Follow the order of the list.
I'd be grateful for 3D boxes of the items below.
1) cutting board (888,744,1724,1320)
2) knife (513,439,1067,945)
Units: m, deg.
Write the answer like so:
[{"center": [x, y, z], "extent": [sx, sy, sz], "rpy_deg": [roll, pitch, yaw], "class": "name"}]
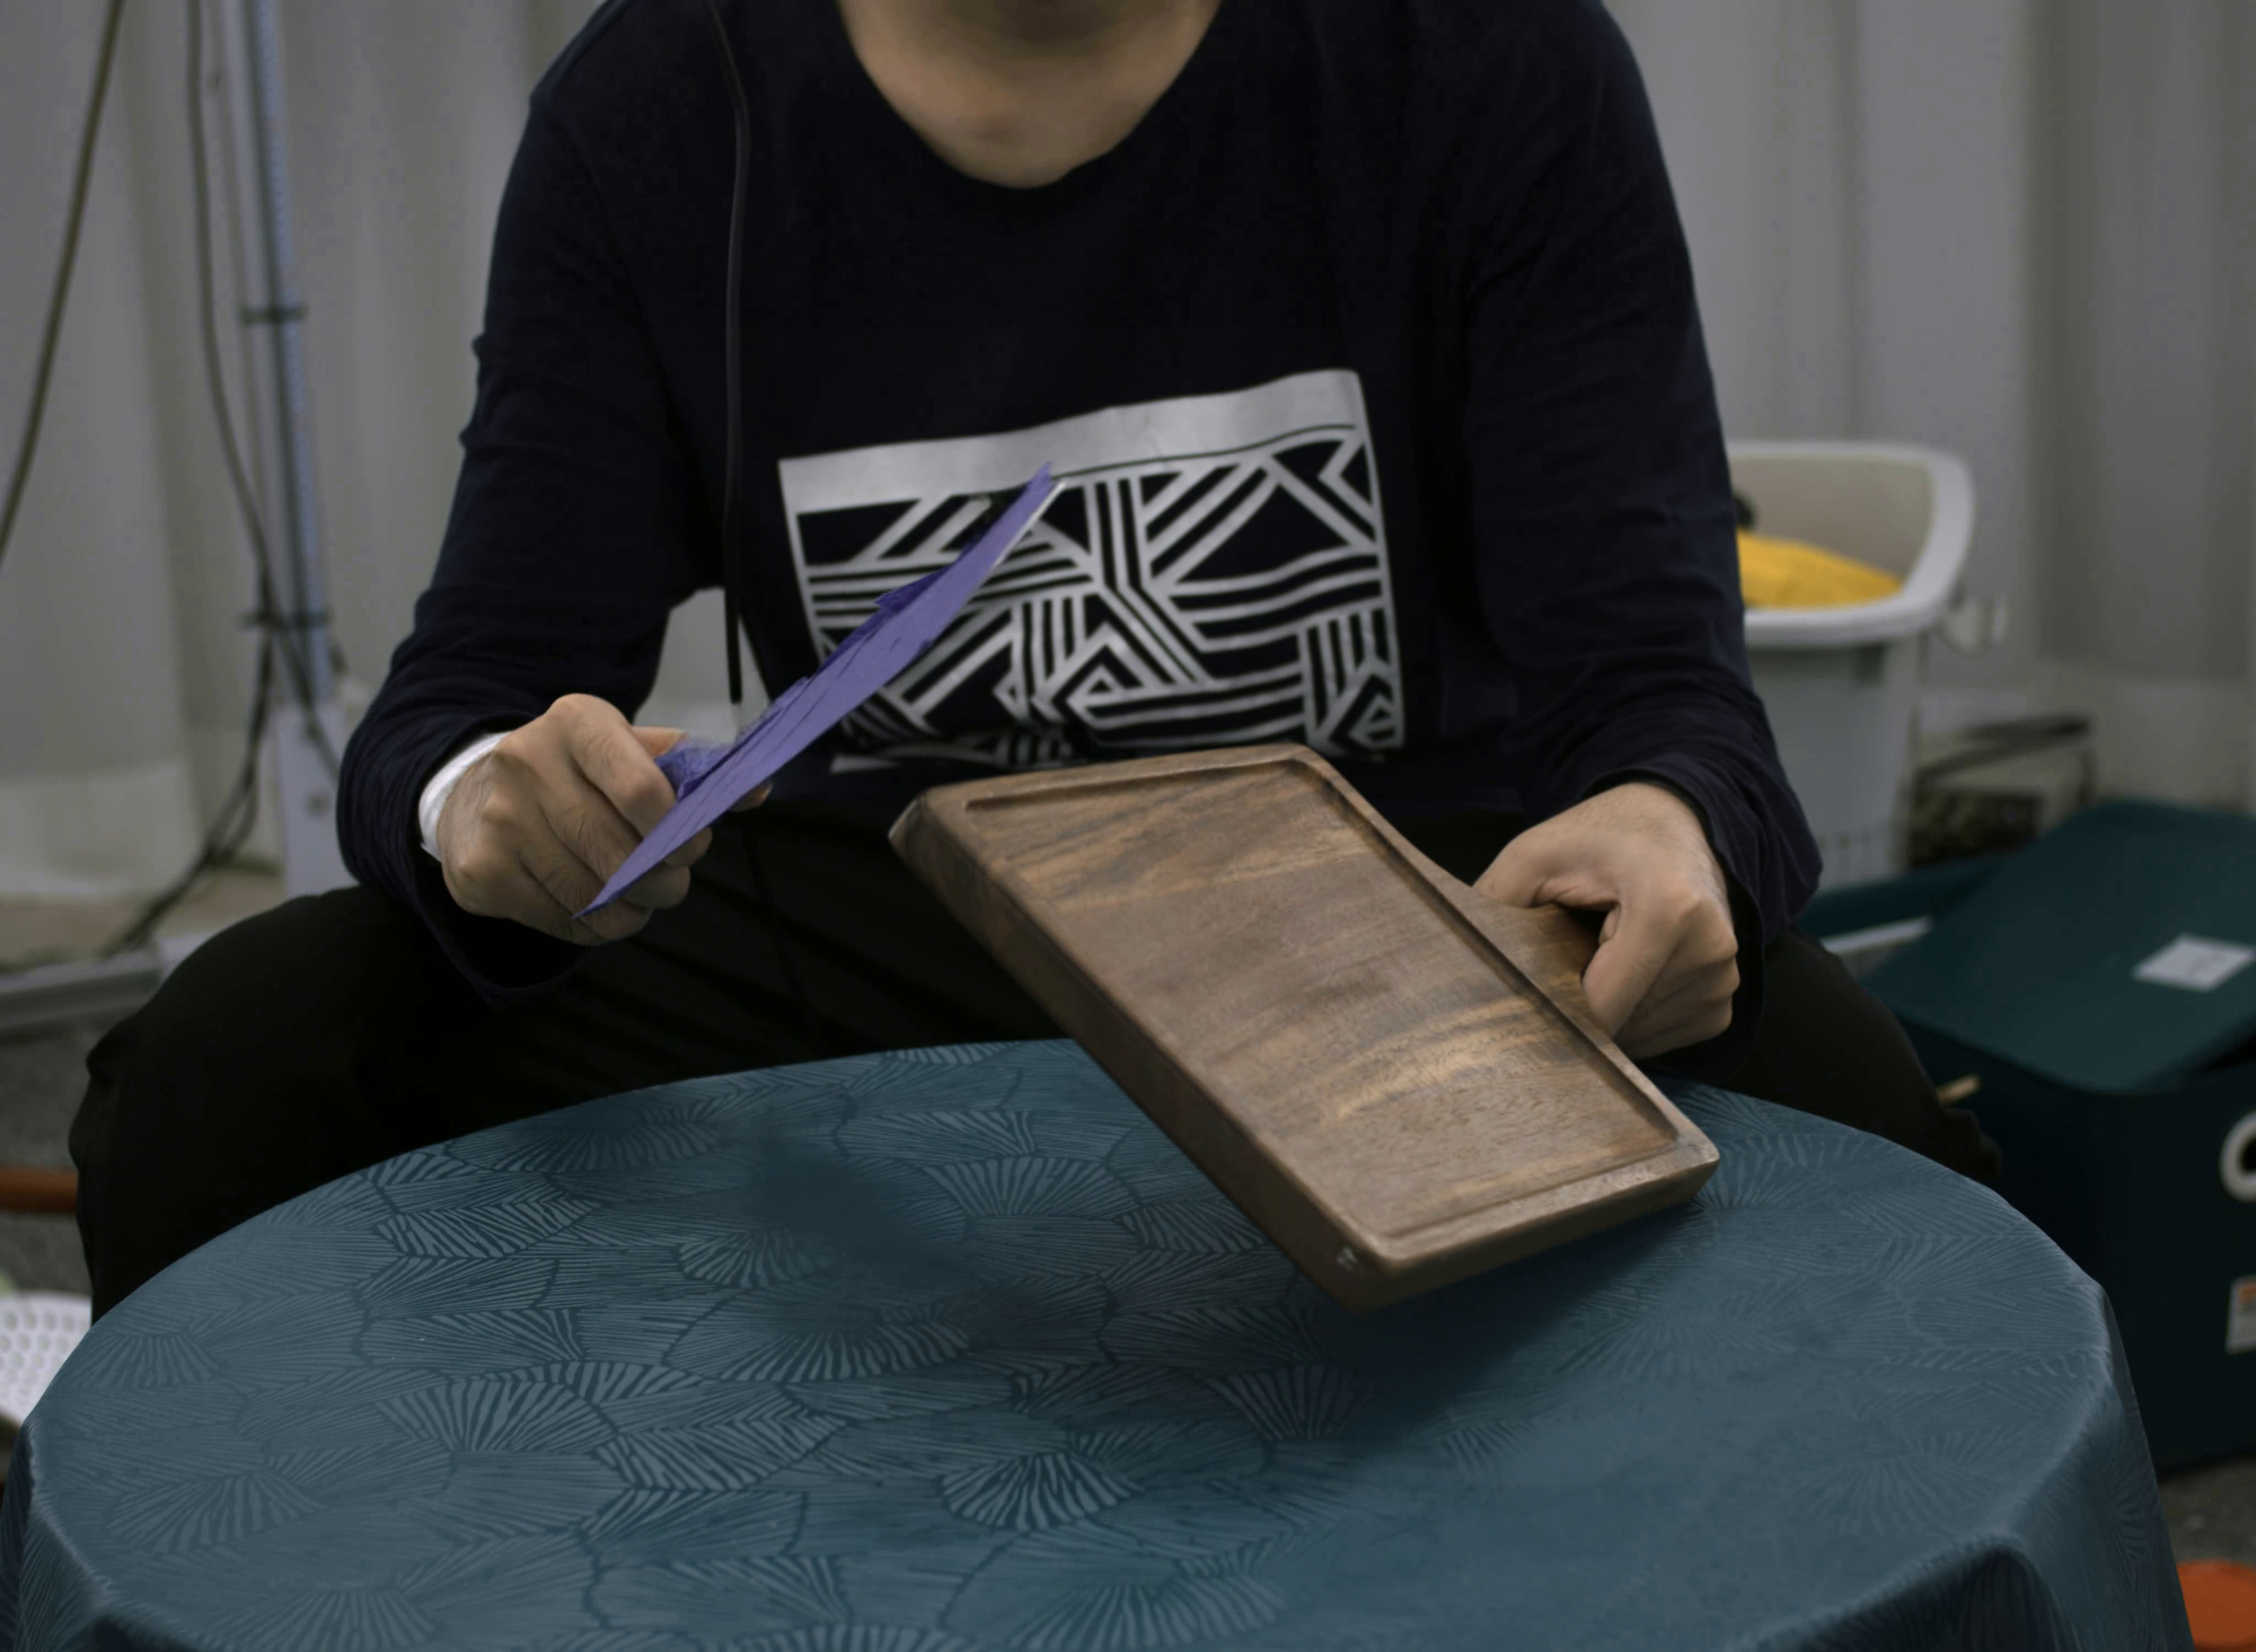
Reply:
[{"center": [0.081, 0.051, 1.651], "extent": [0.202, 0.023, 0.351], "rpy_deg": [44, 22, 18], "class": "cutting board"}, {"center": [-0.124, -0.021, 1.671], "extent": [0.313, 0.032, 0.105], "rpy_deg": [-39, 9, 48], "class": "knife"}]
